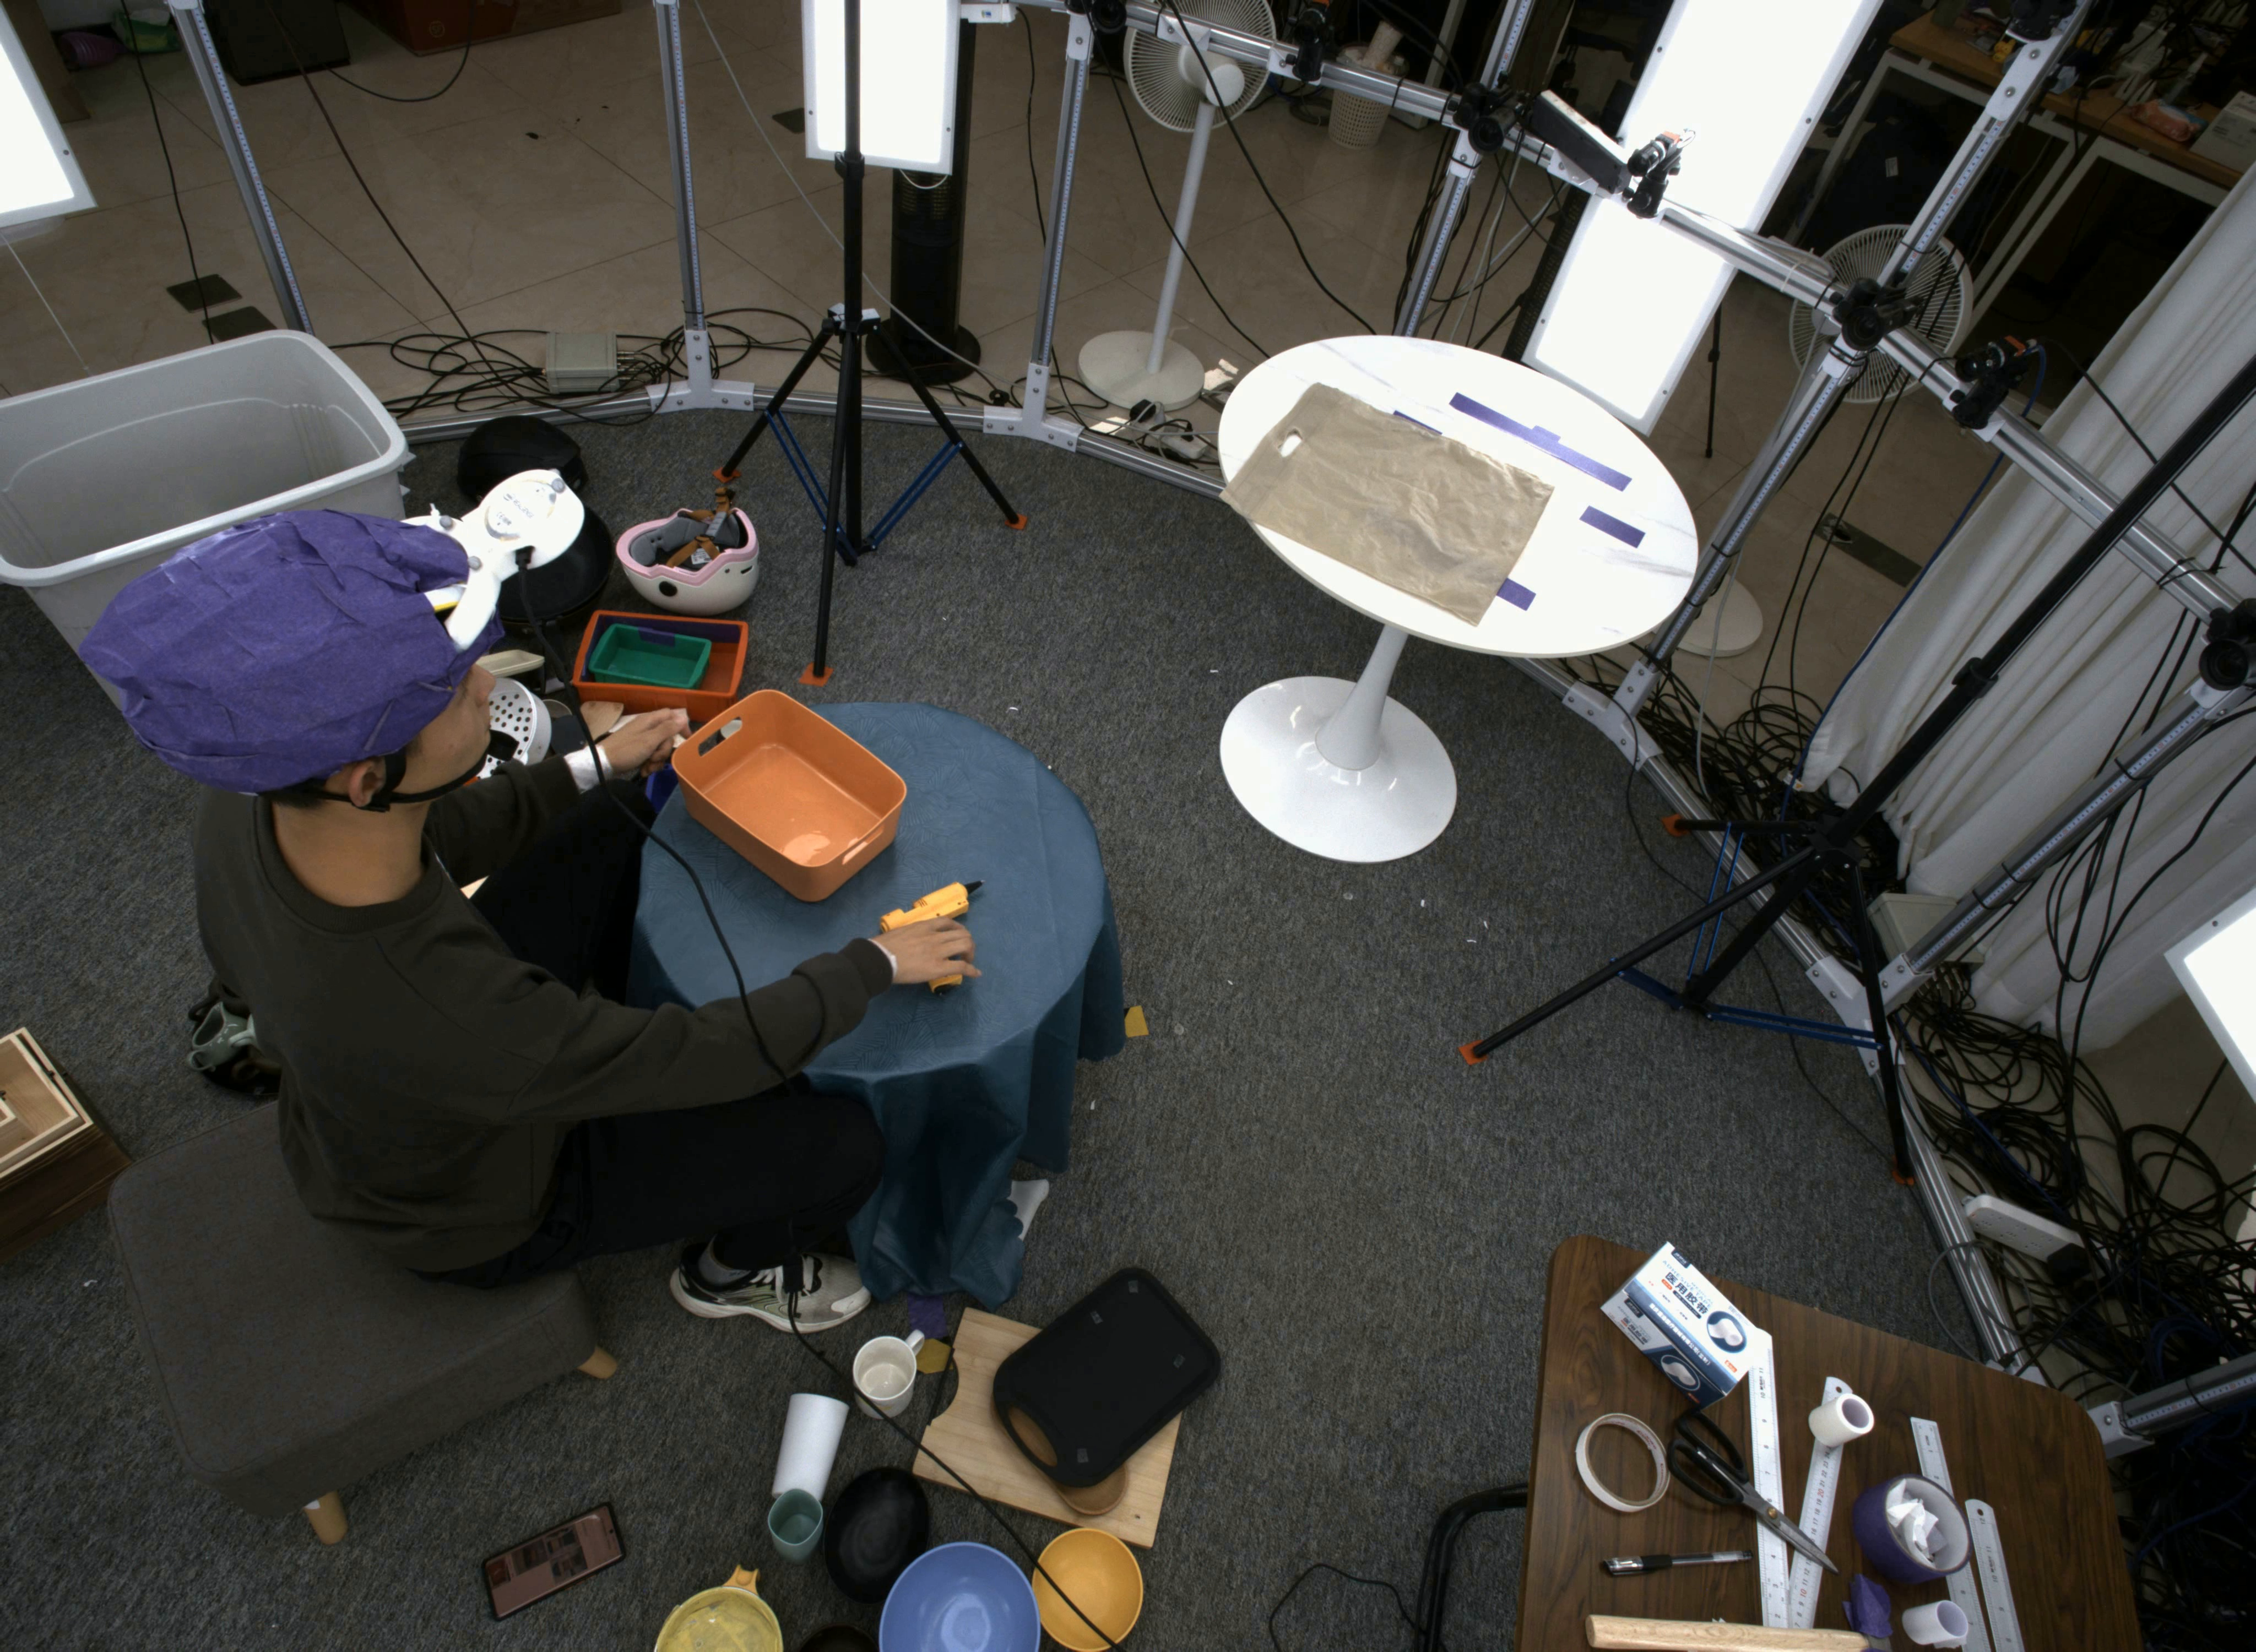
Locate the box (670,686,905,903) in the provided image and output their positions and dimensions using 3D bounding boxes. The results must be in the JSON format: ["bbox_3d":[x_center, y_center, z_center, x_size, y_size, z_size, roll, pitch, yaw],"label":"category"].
[{"bbox_3d":[-0.439,-0.037,1.677,0.268,0.104,0.199,34,54,12],"label":"box"}]

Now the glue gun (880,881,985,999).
[{"bbox_3d":[-0.219,0.132,1.657,0.152,0.032,0.130,-32,68,-29],"label":"glue gun"}]
